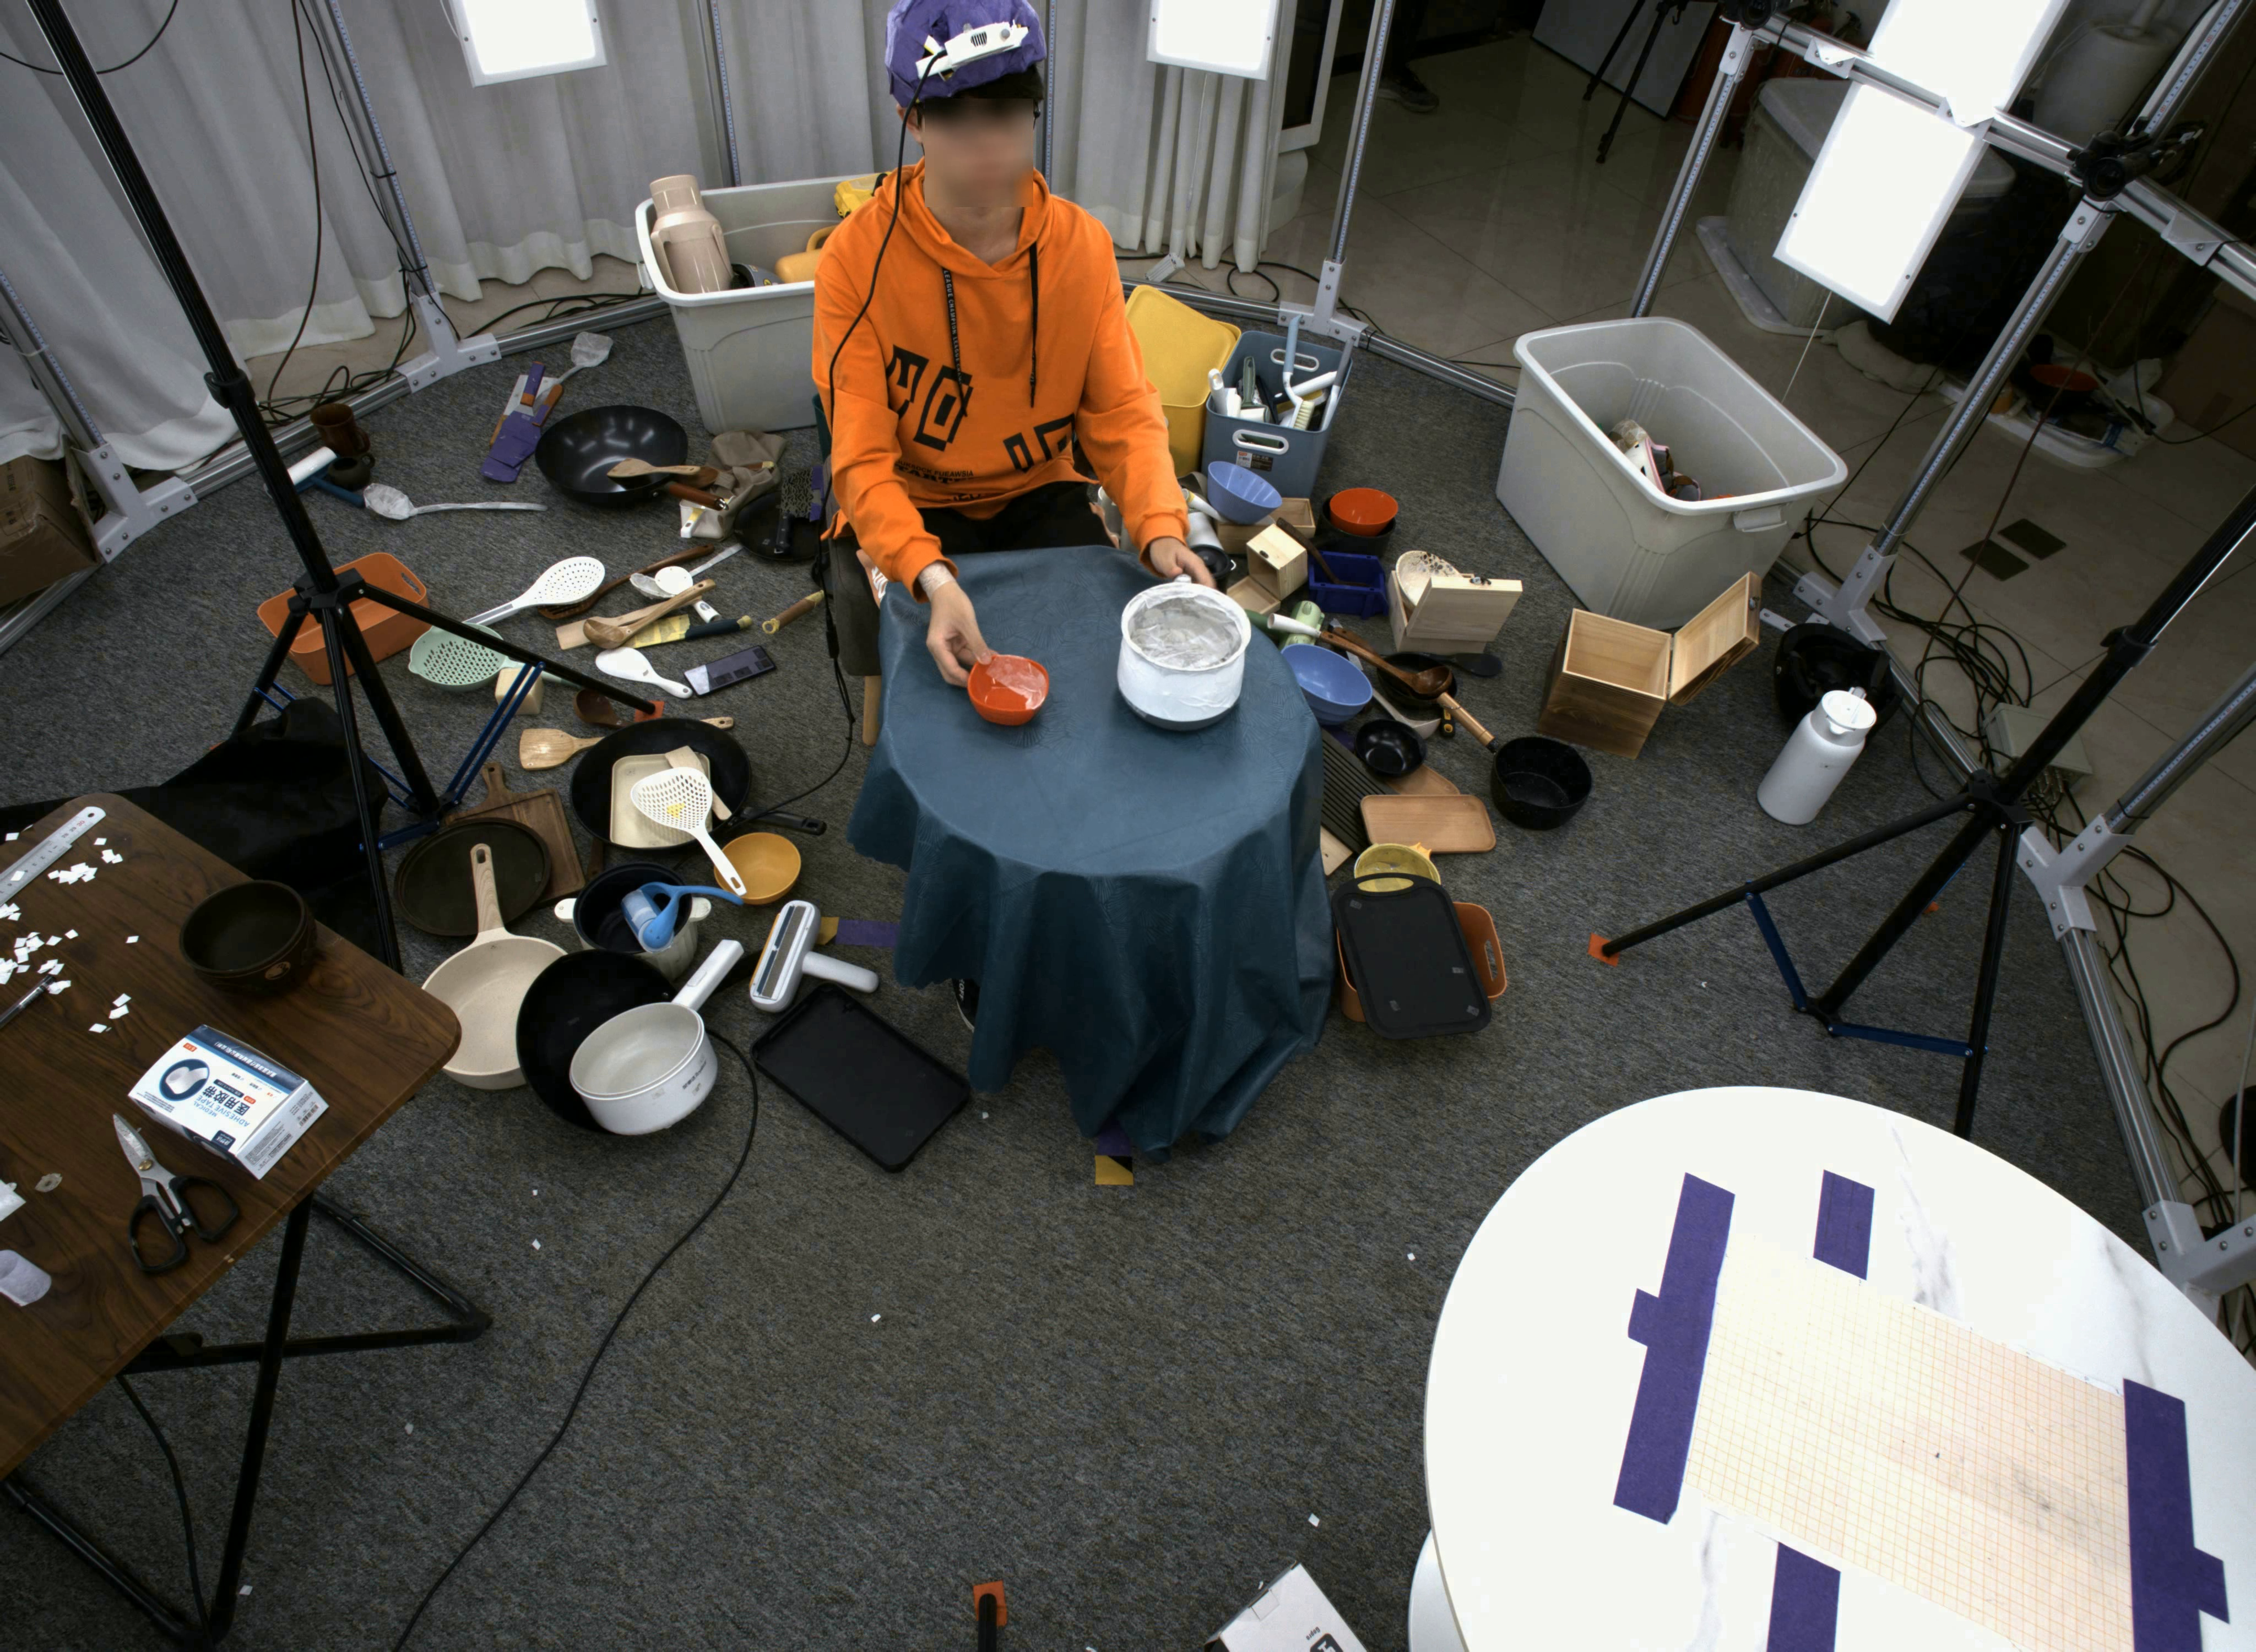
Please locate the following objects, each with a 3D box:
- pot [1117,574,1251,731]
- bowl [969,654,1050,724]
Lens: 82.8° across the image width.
[{"bbox_3d":[0.074,-0.253,1.805,0.178,0.133,0.239,1,49,-4],"label":"pot"},{"bbox_3d":[-0.165,-0.184,1.780,0.119,0.050,0.122,4,49,-5],"label":"bowl"}]
